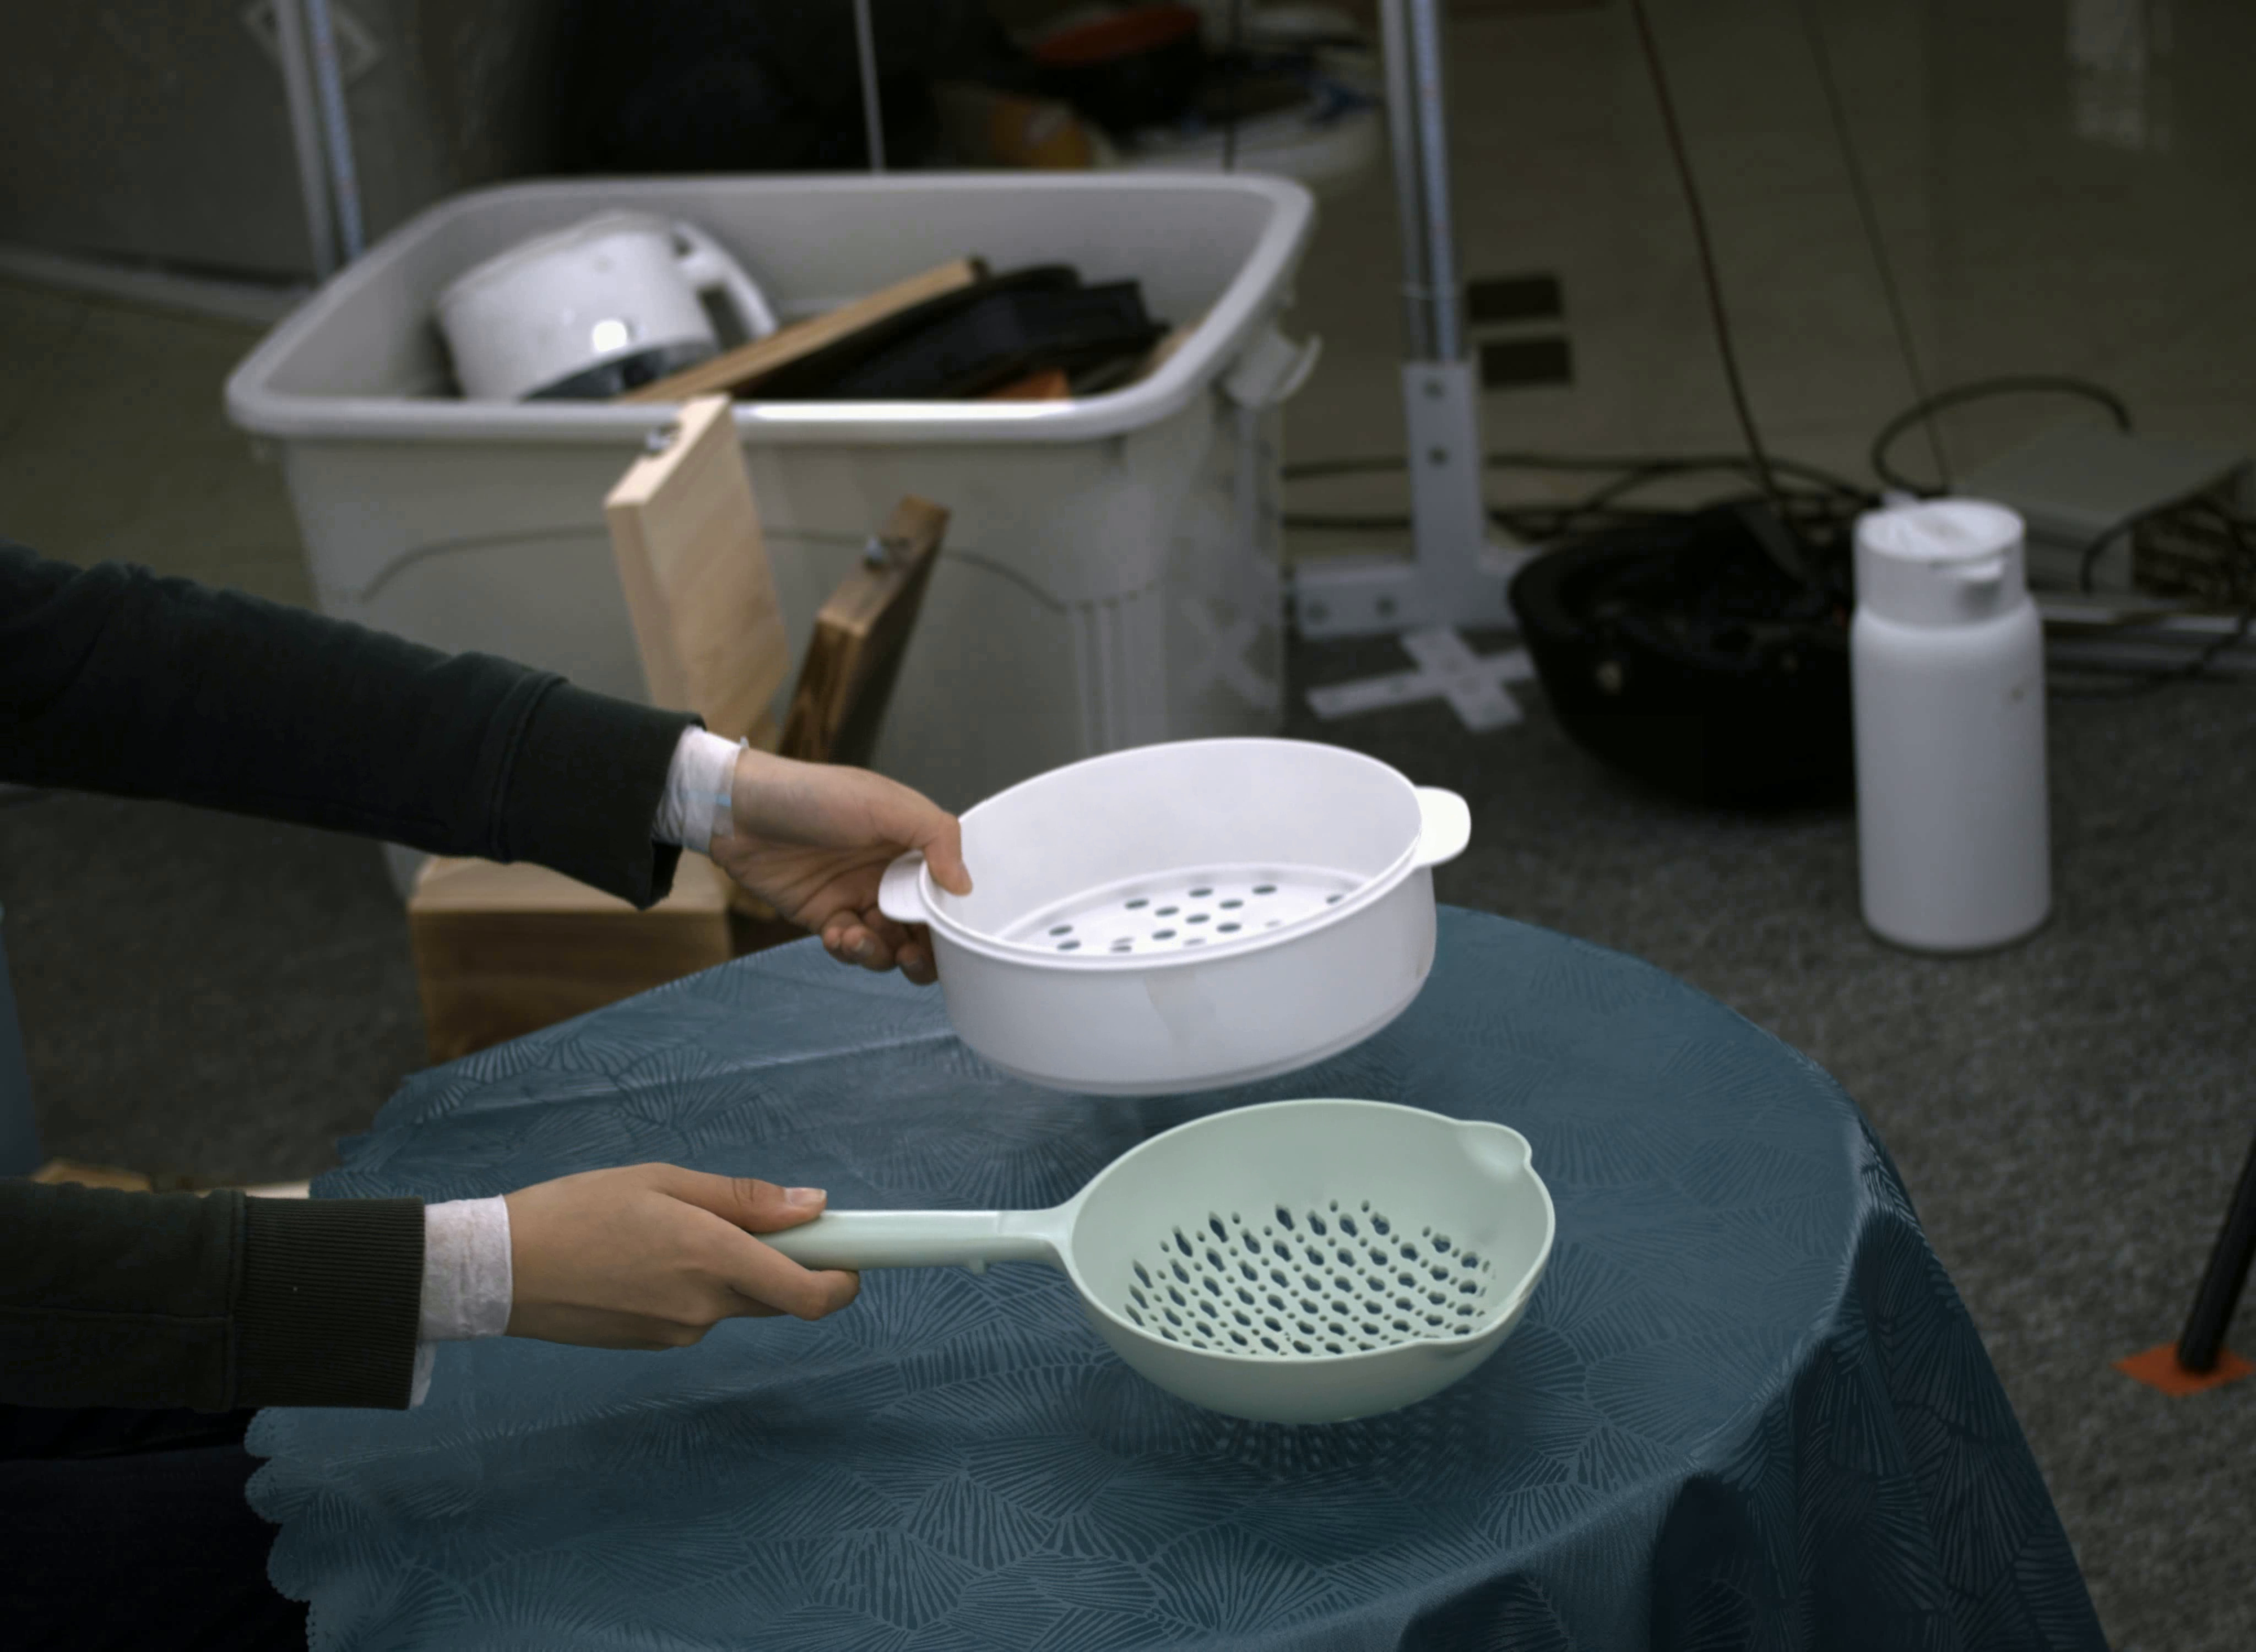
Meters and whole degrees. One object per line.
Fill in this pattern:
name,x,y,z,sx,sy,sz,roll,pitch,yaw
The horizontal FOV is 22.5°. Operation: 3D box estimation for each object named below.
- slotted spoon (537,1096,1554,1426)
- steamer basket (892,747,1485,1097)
slotted spoon,-0.033,0.149,1.991,0.358,0.076,0.167,7,30,5
steamer basket,0.027,0.037,2.187,0.230,0.070,0.199,-8,22,6
